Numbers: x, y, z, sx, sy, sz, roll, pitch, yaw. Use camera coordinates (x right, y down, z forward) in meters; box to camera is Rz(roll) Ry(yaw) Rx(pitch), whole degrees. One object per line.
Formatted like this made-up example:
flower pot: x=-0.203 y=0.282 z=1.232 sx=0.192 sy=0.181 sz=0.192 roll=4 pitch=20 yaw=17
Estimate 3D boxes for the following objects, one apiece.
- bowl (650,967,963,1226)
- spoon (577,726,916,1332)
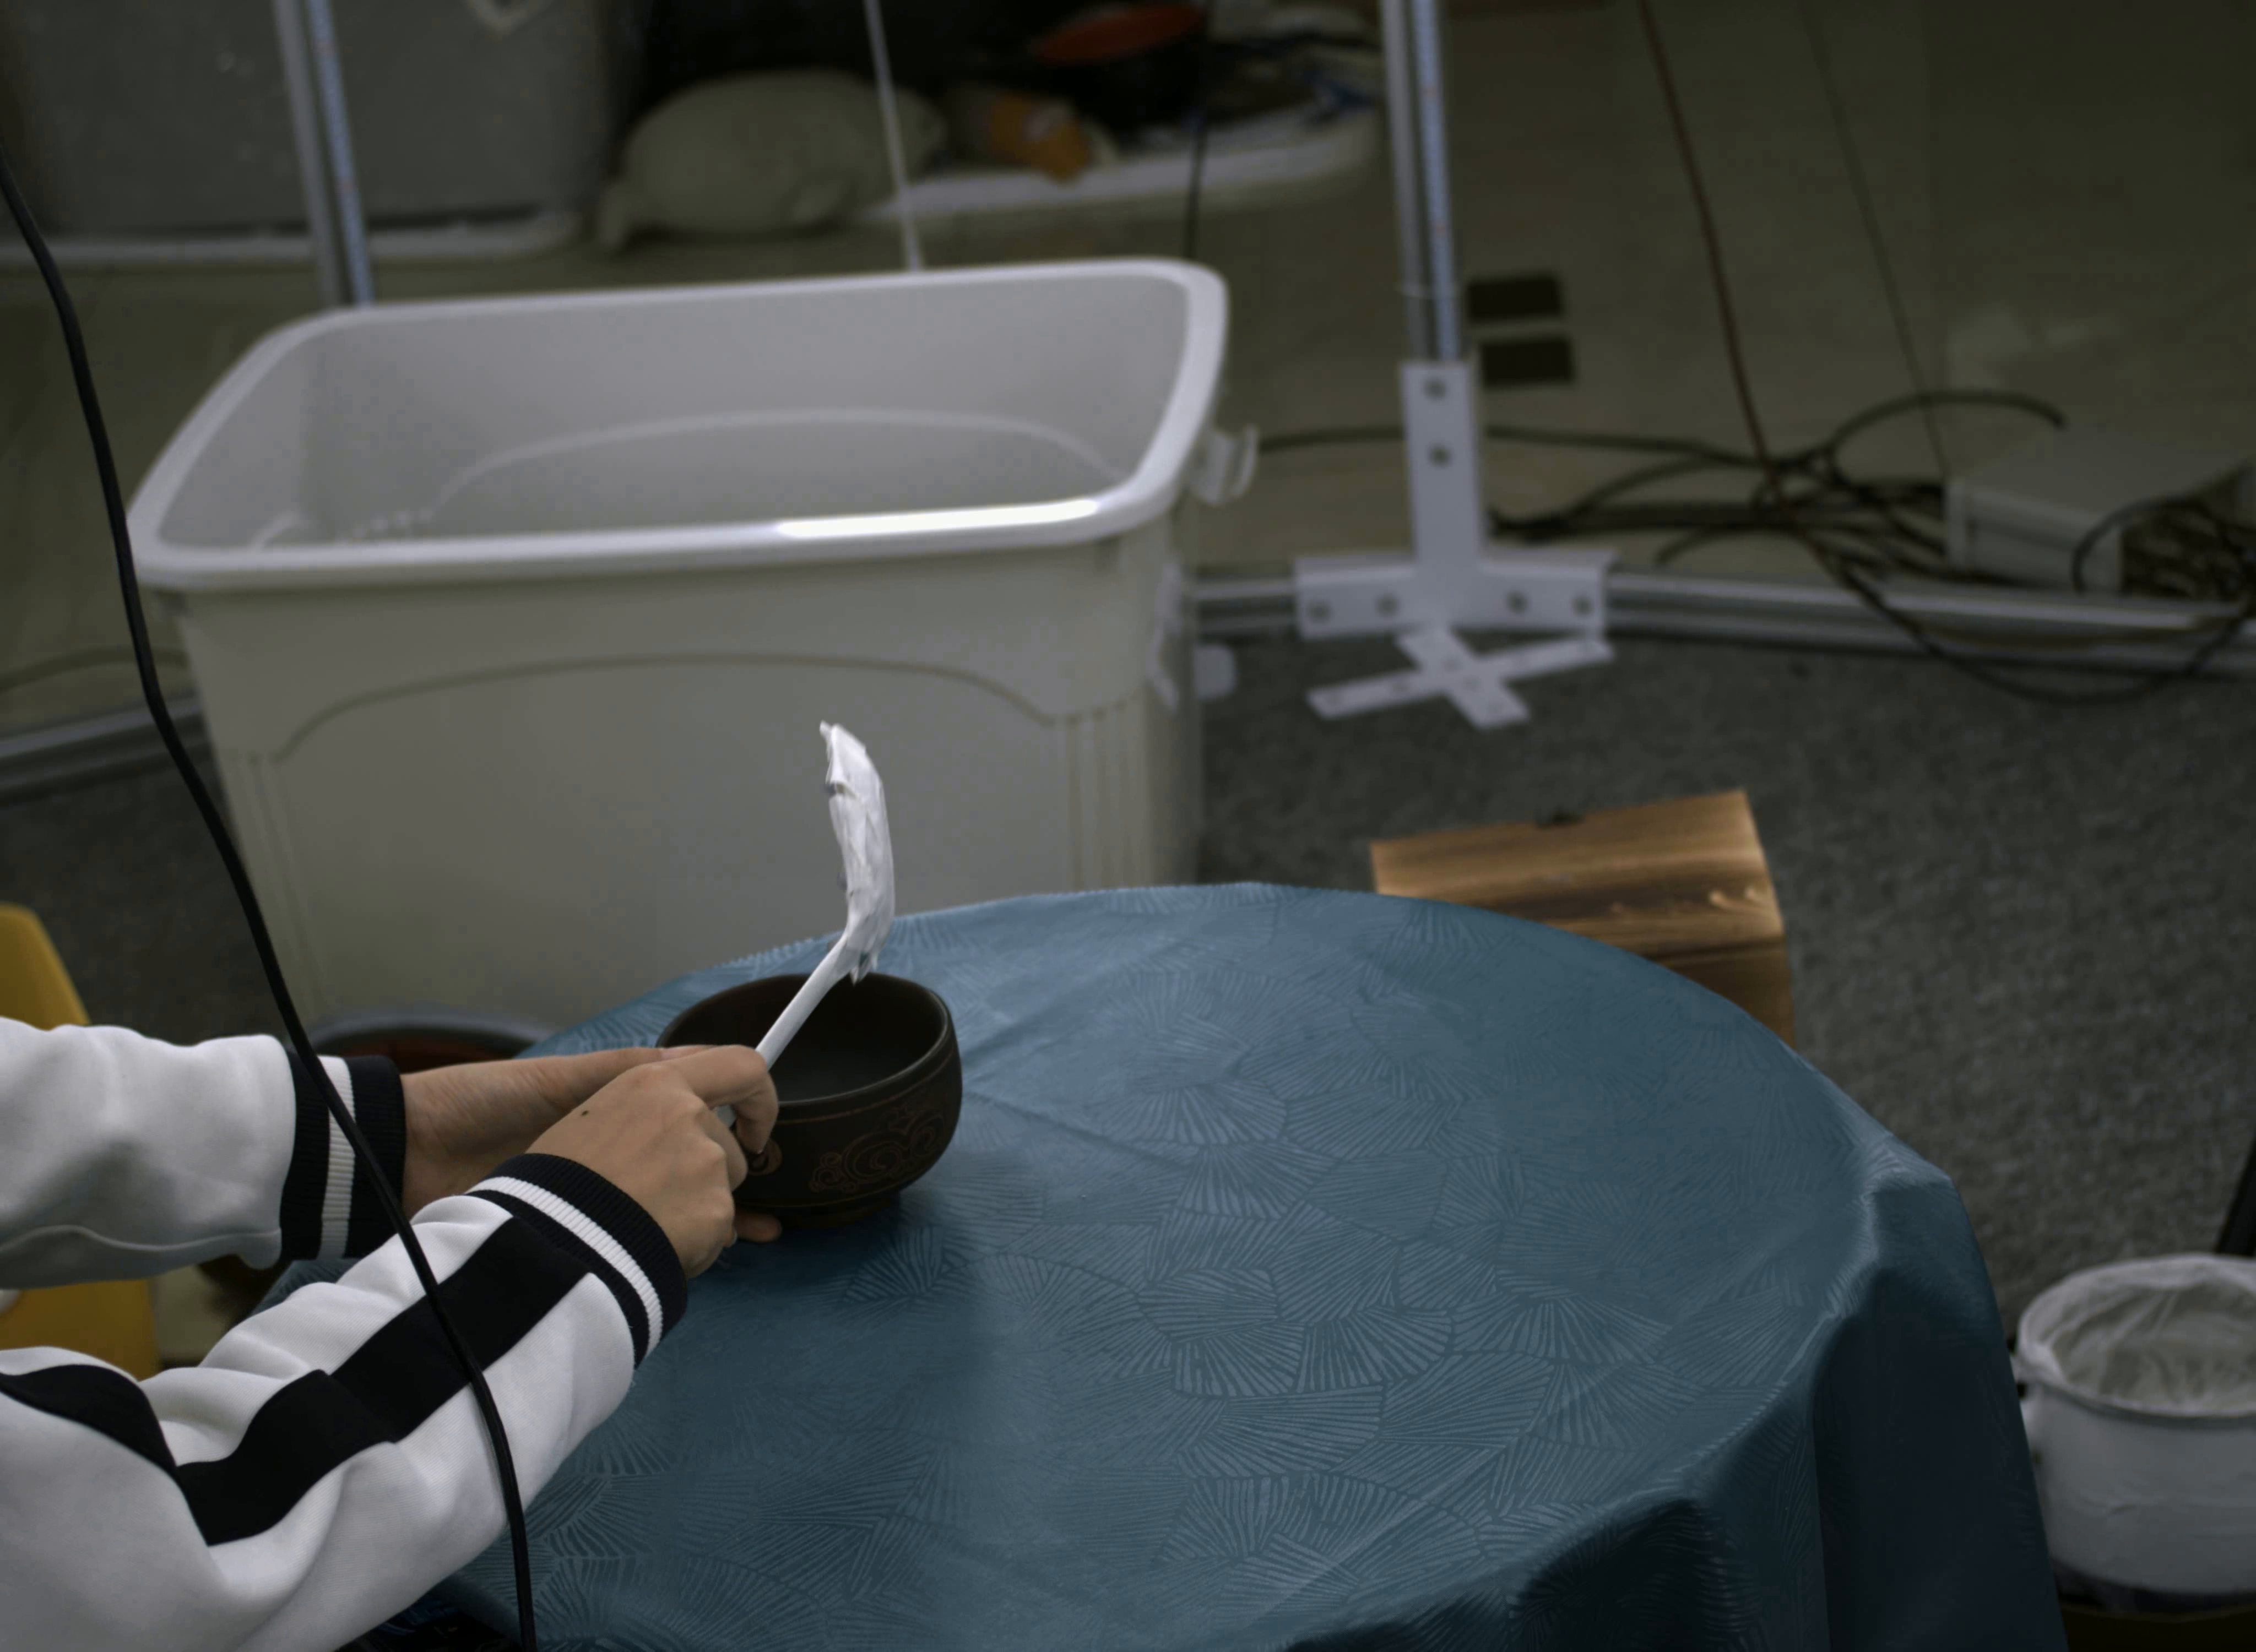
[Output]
bowl: x=-0.120 y=0.109 z=2.155 sx=0.118 sy=0.071 sz=0.116 roll=-6 pitch=25 yaw=3
spoon: x=-0.142 y=0.076 z=2.017 sx=0.059 sy=0.102 sz=0.273 roll=16 pitch=50 yaw=25
